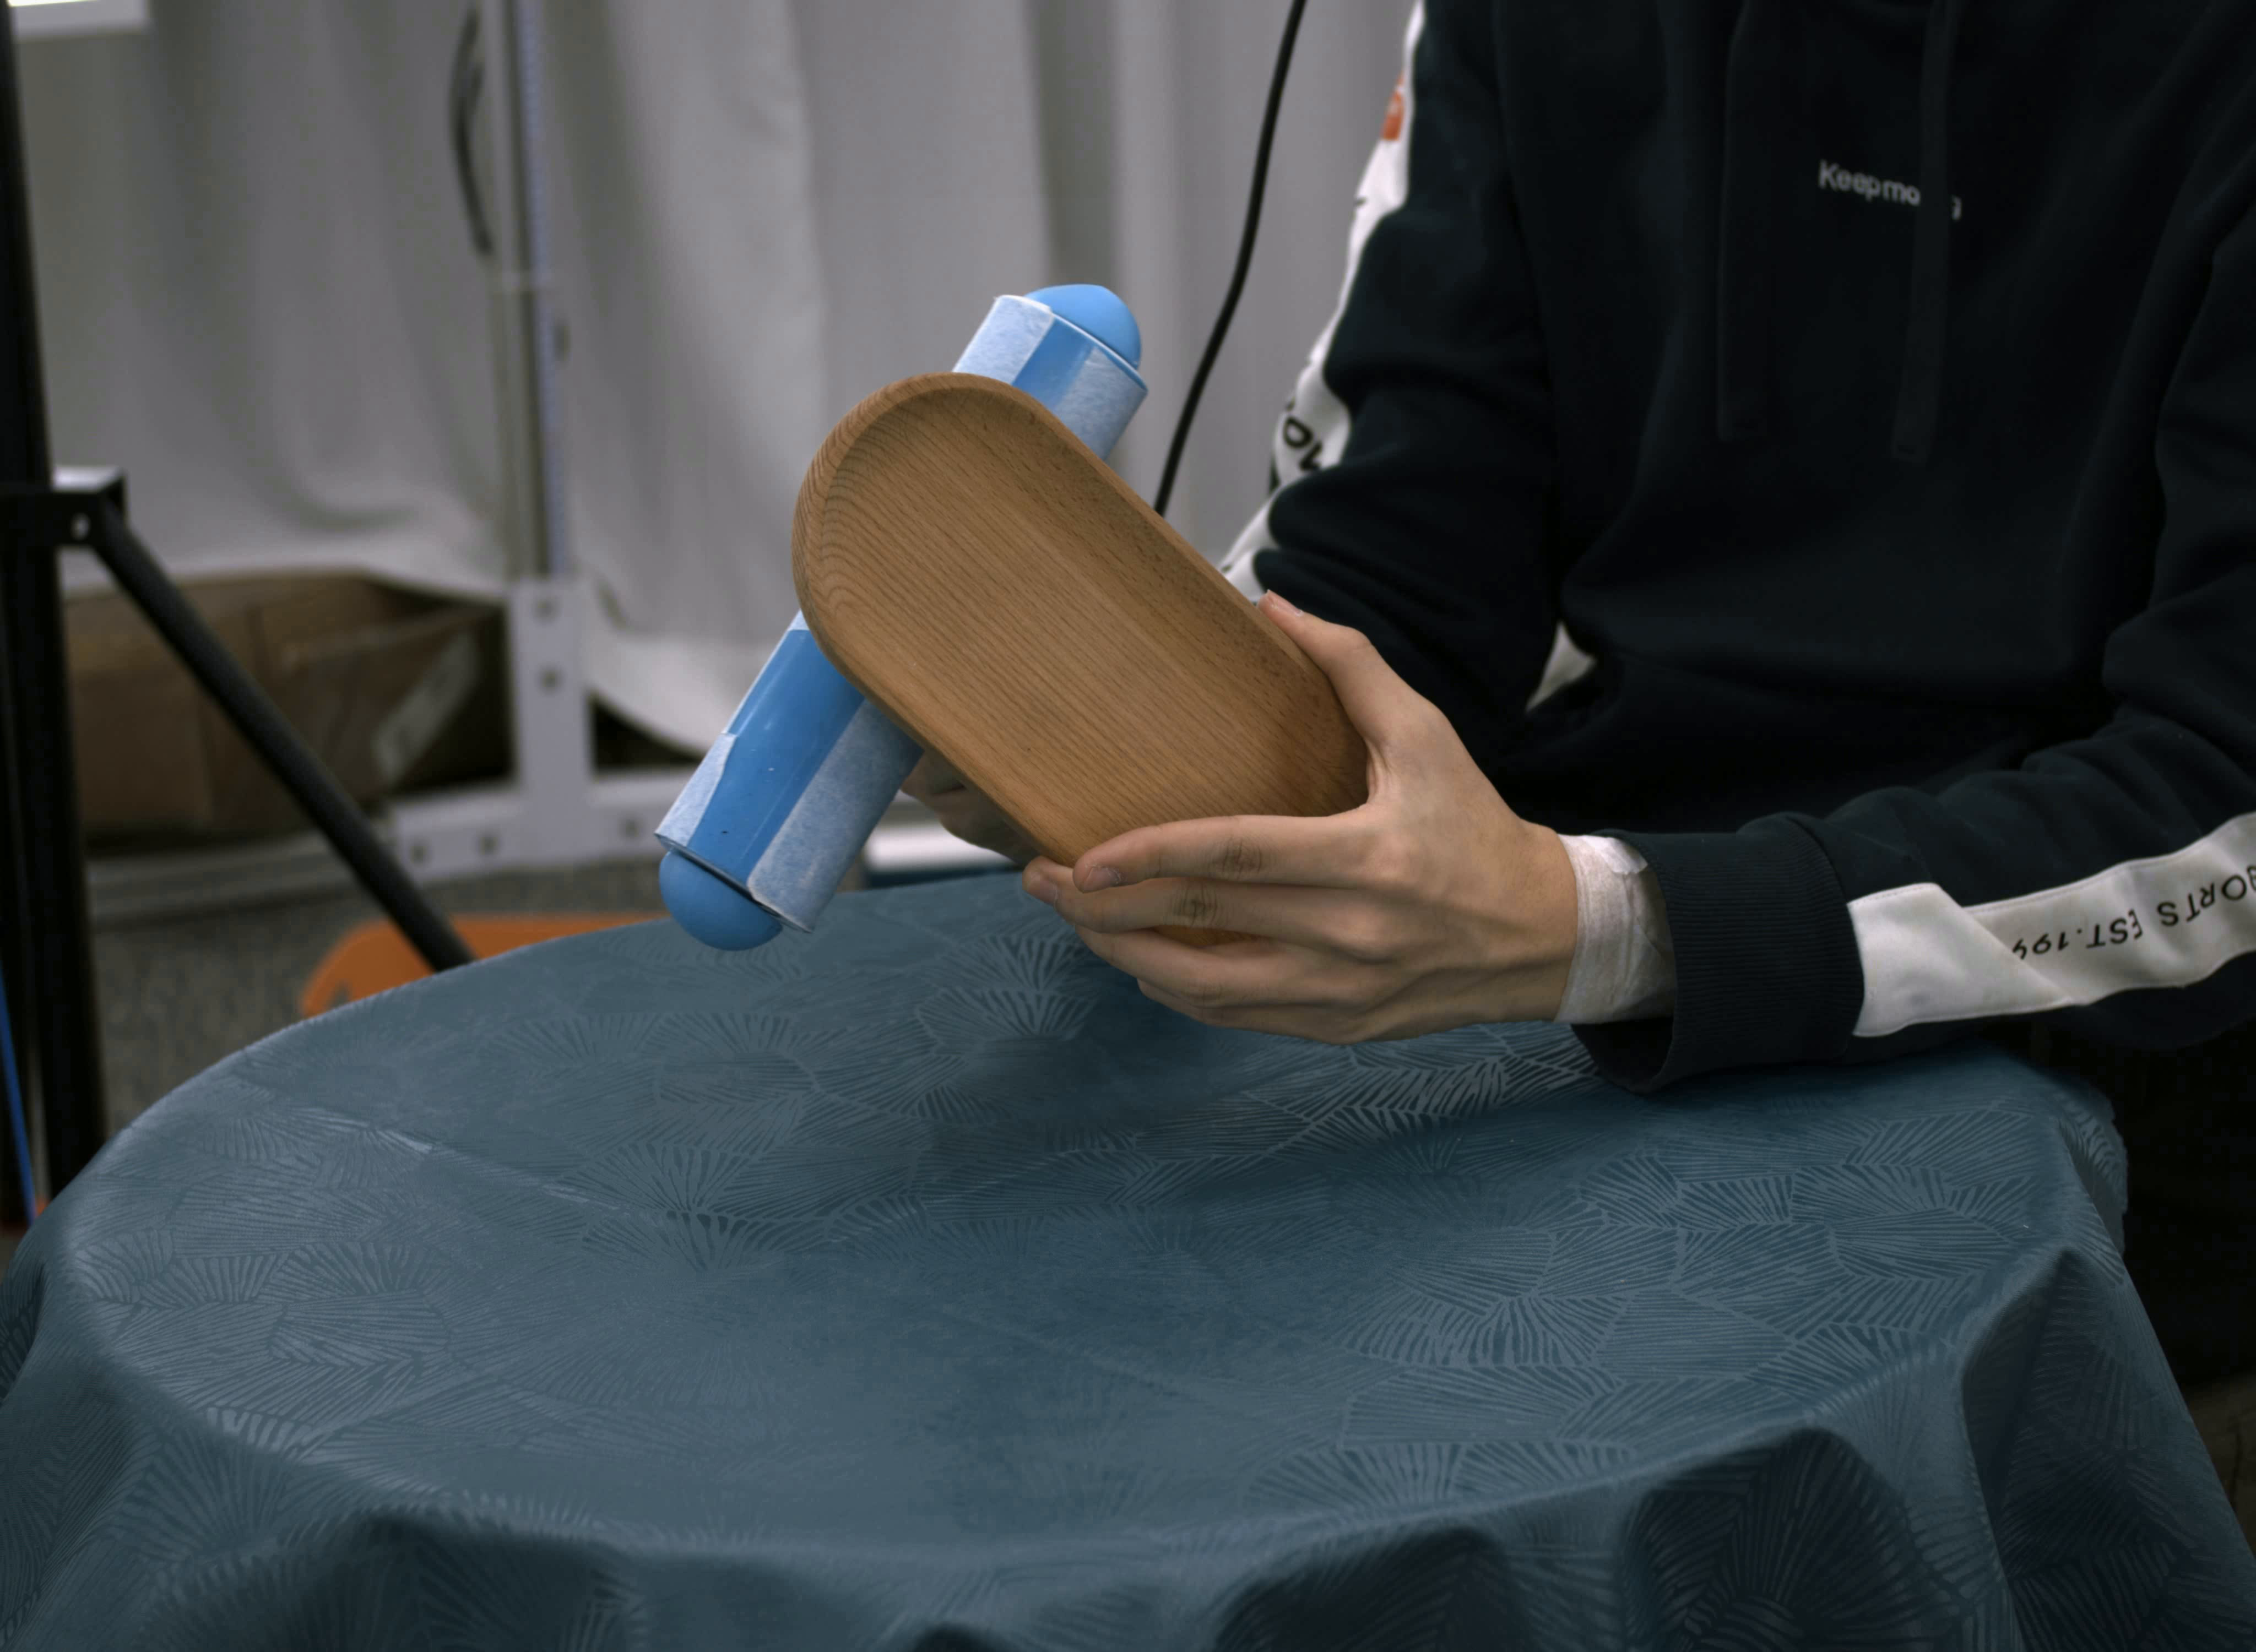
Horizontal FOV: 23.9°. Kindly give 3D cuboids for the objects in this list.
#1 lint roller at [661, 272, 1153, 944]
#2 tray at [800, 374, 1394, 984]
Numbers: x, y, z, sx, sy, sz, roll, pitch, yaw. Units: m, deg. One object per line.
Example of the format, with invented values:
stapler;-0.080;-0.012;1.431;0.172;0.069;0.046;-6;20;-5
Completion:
lint roller;-0.053;-0.046;1.630;0.069;0.229;0.177;28;-10;21
tray;-0.007;-0.041;1.567;0.101;0.226;0.021;-56;29;-14
